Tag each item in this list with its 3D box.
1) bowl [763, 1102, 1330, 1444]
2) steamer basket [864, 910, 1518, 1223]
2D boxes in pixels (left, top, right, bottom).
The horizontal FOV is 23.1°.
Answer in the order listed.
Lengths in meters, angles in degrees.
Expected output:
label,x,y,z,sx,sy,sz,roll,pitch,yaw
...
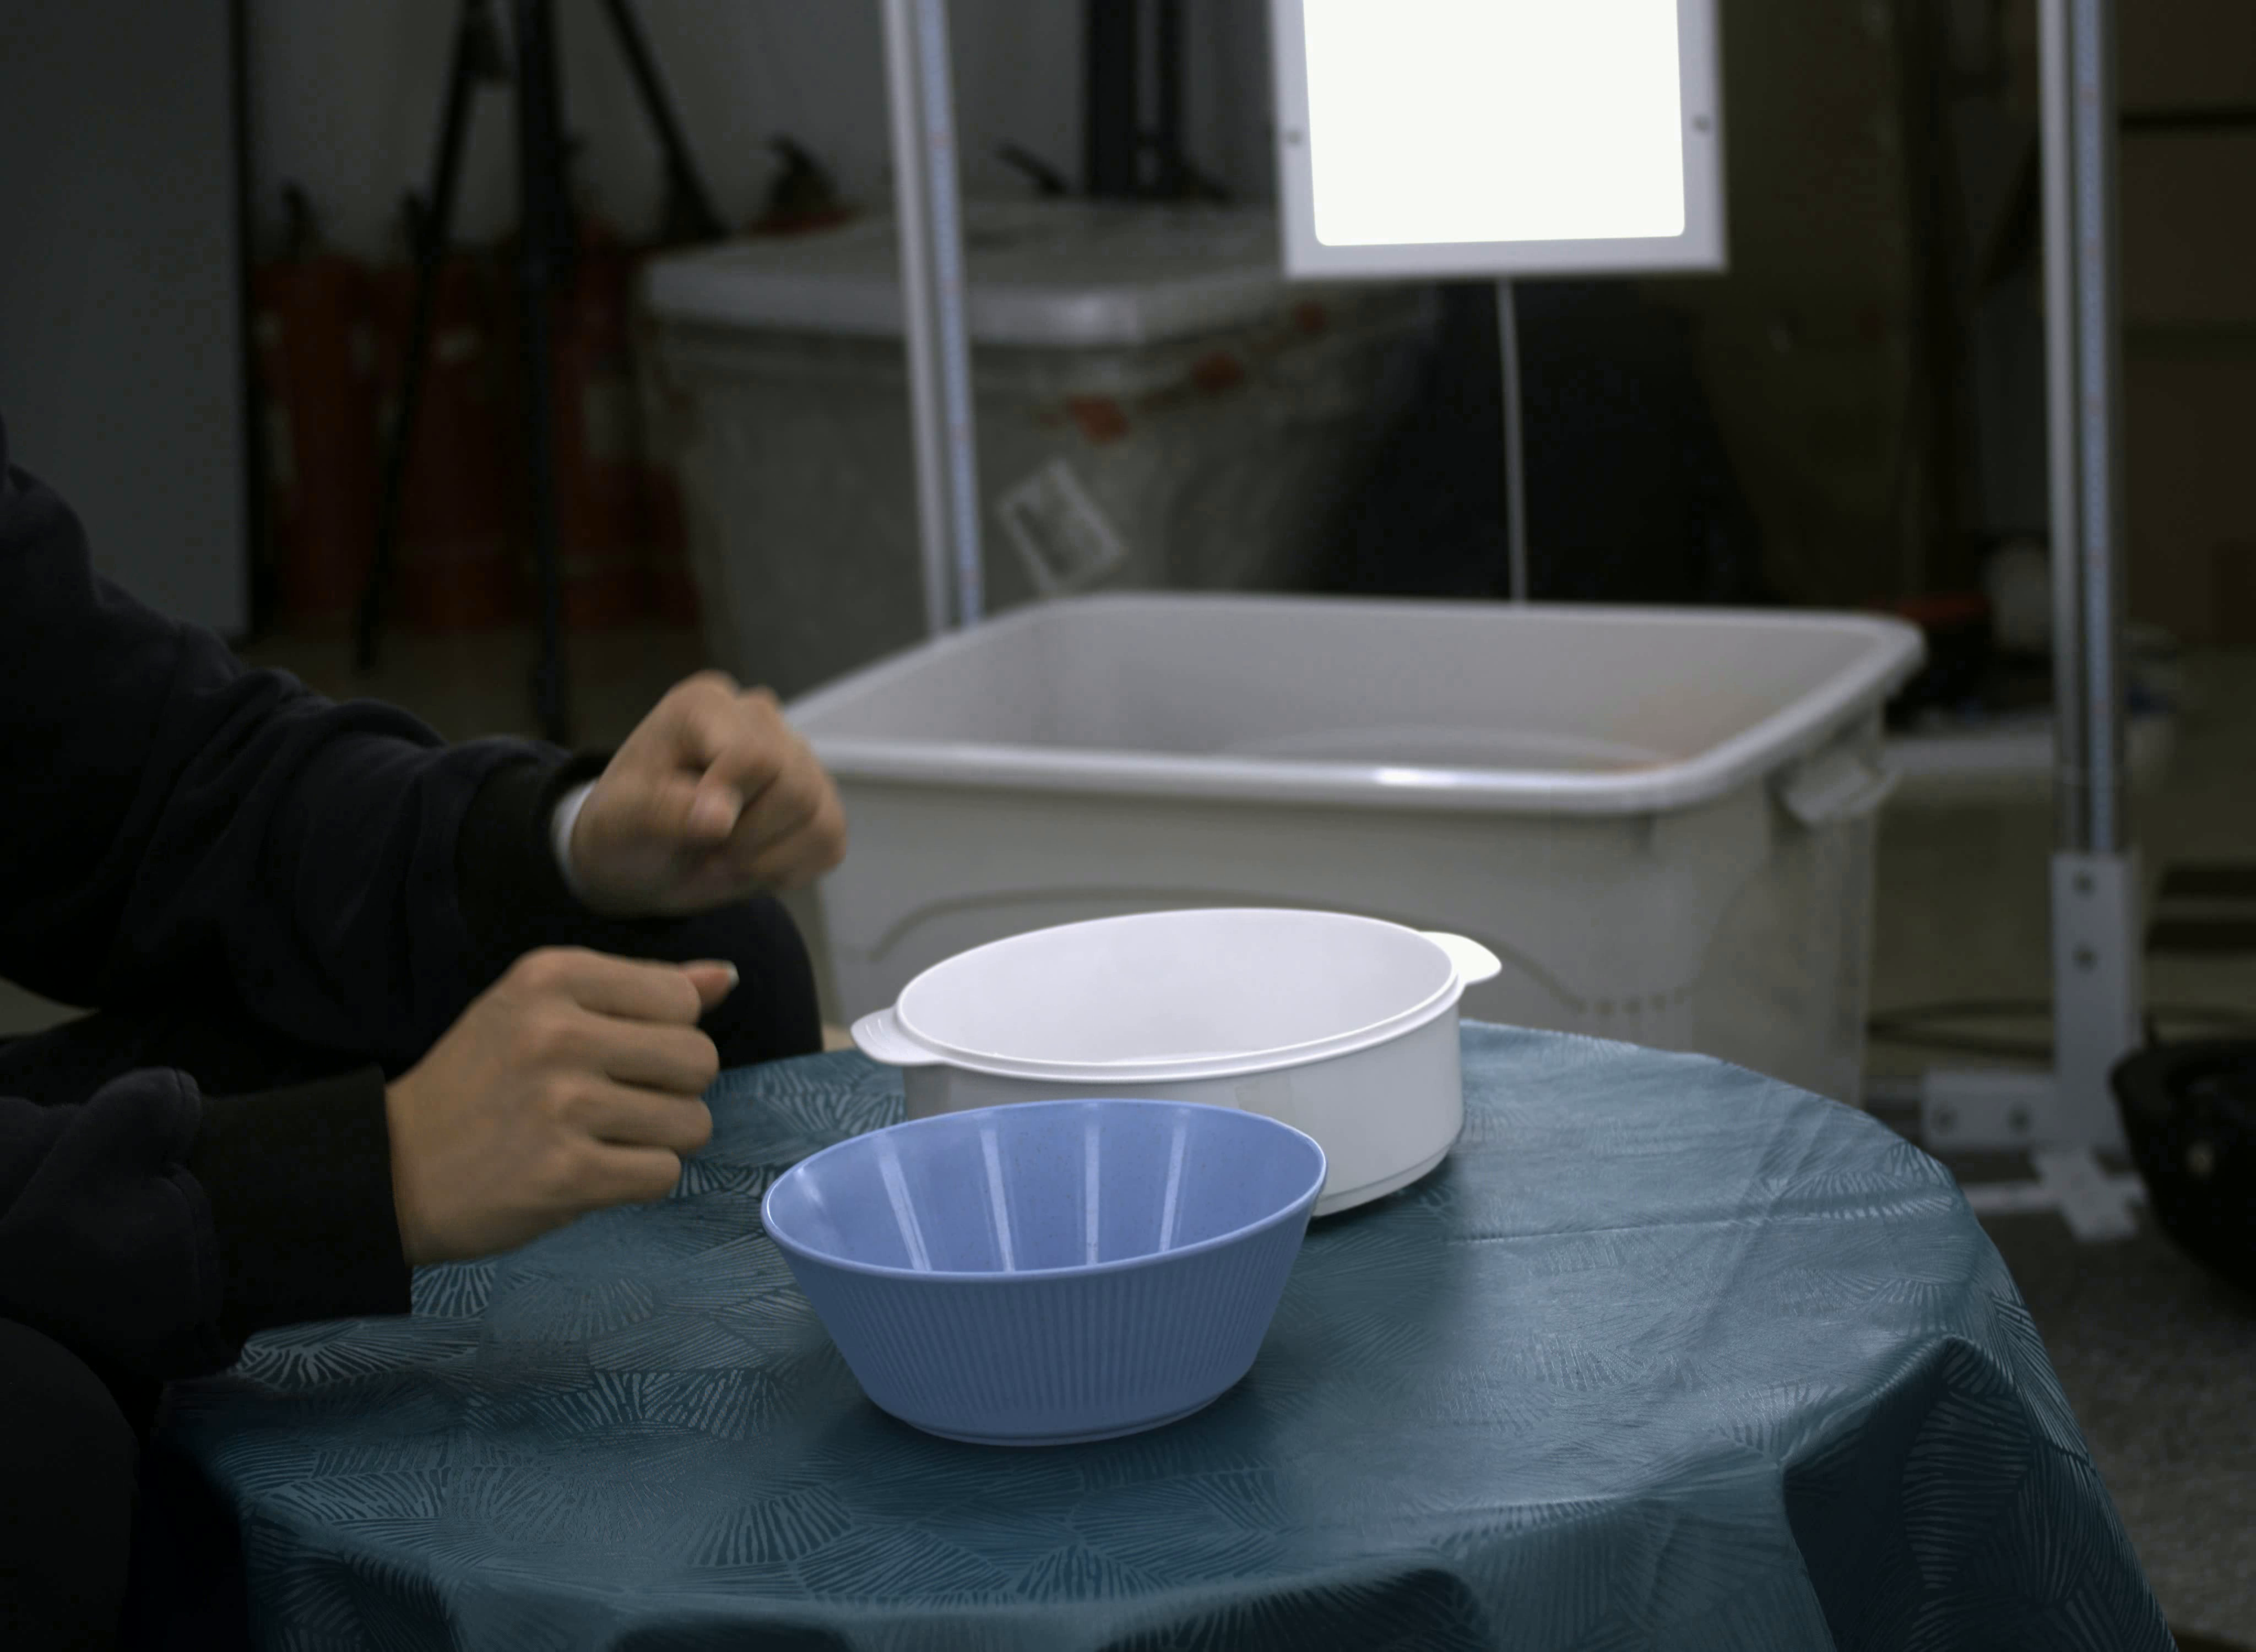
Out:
label,x,y,z,sx,sy,sz,roll,pitch,yaw
bowl,-0.022,0.140,1.700,0.175,0.070,0.176,-5,13,0
steamer basket,0.024,0.085,1.914,0.227,0.069,0.204,-6,14,-13
